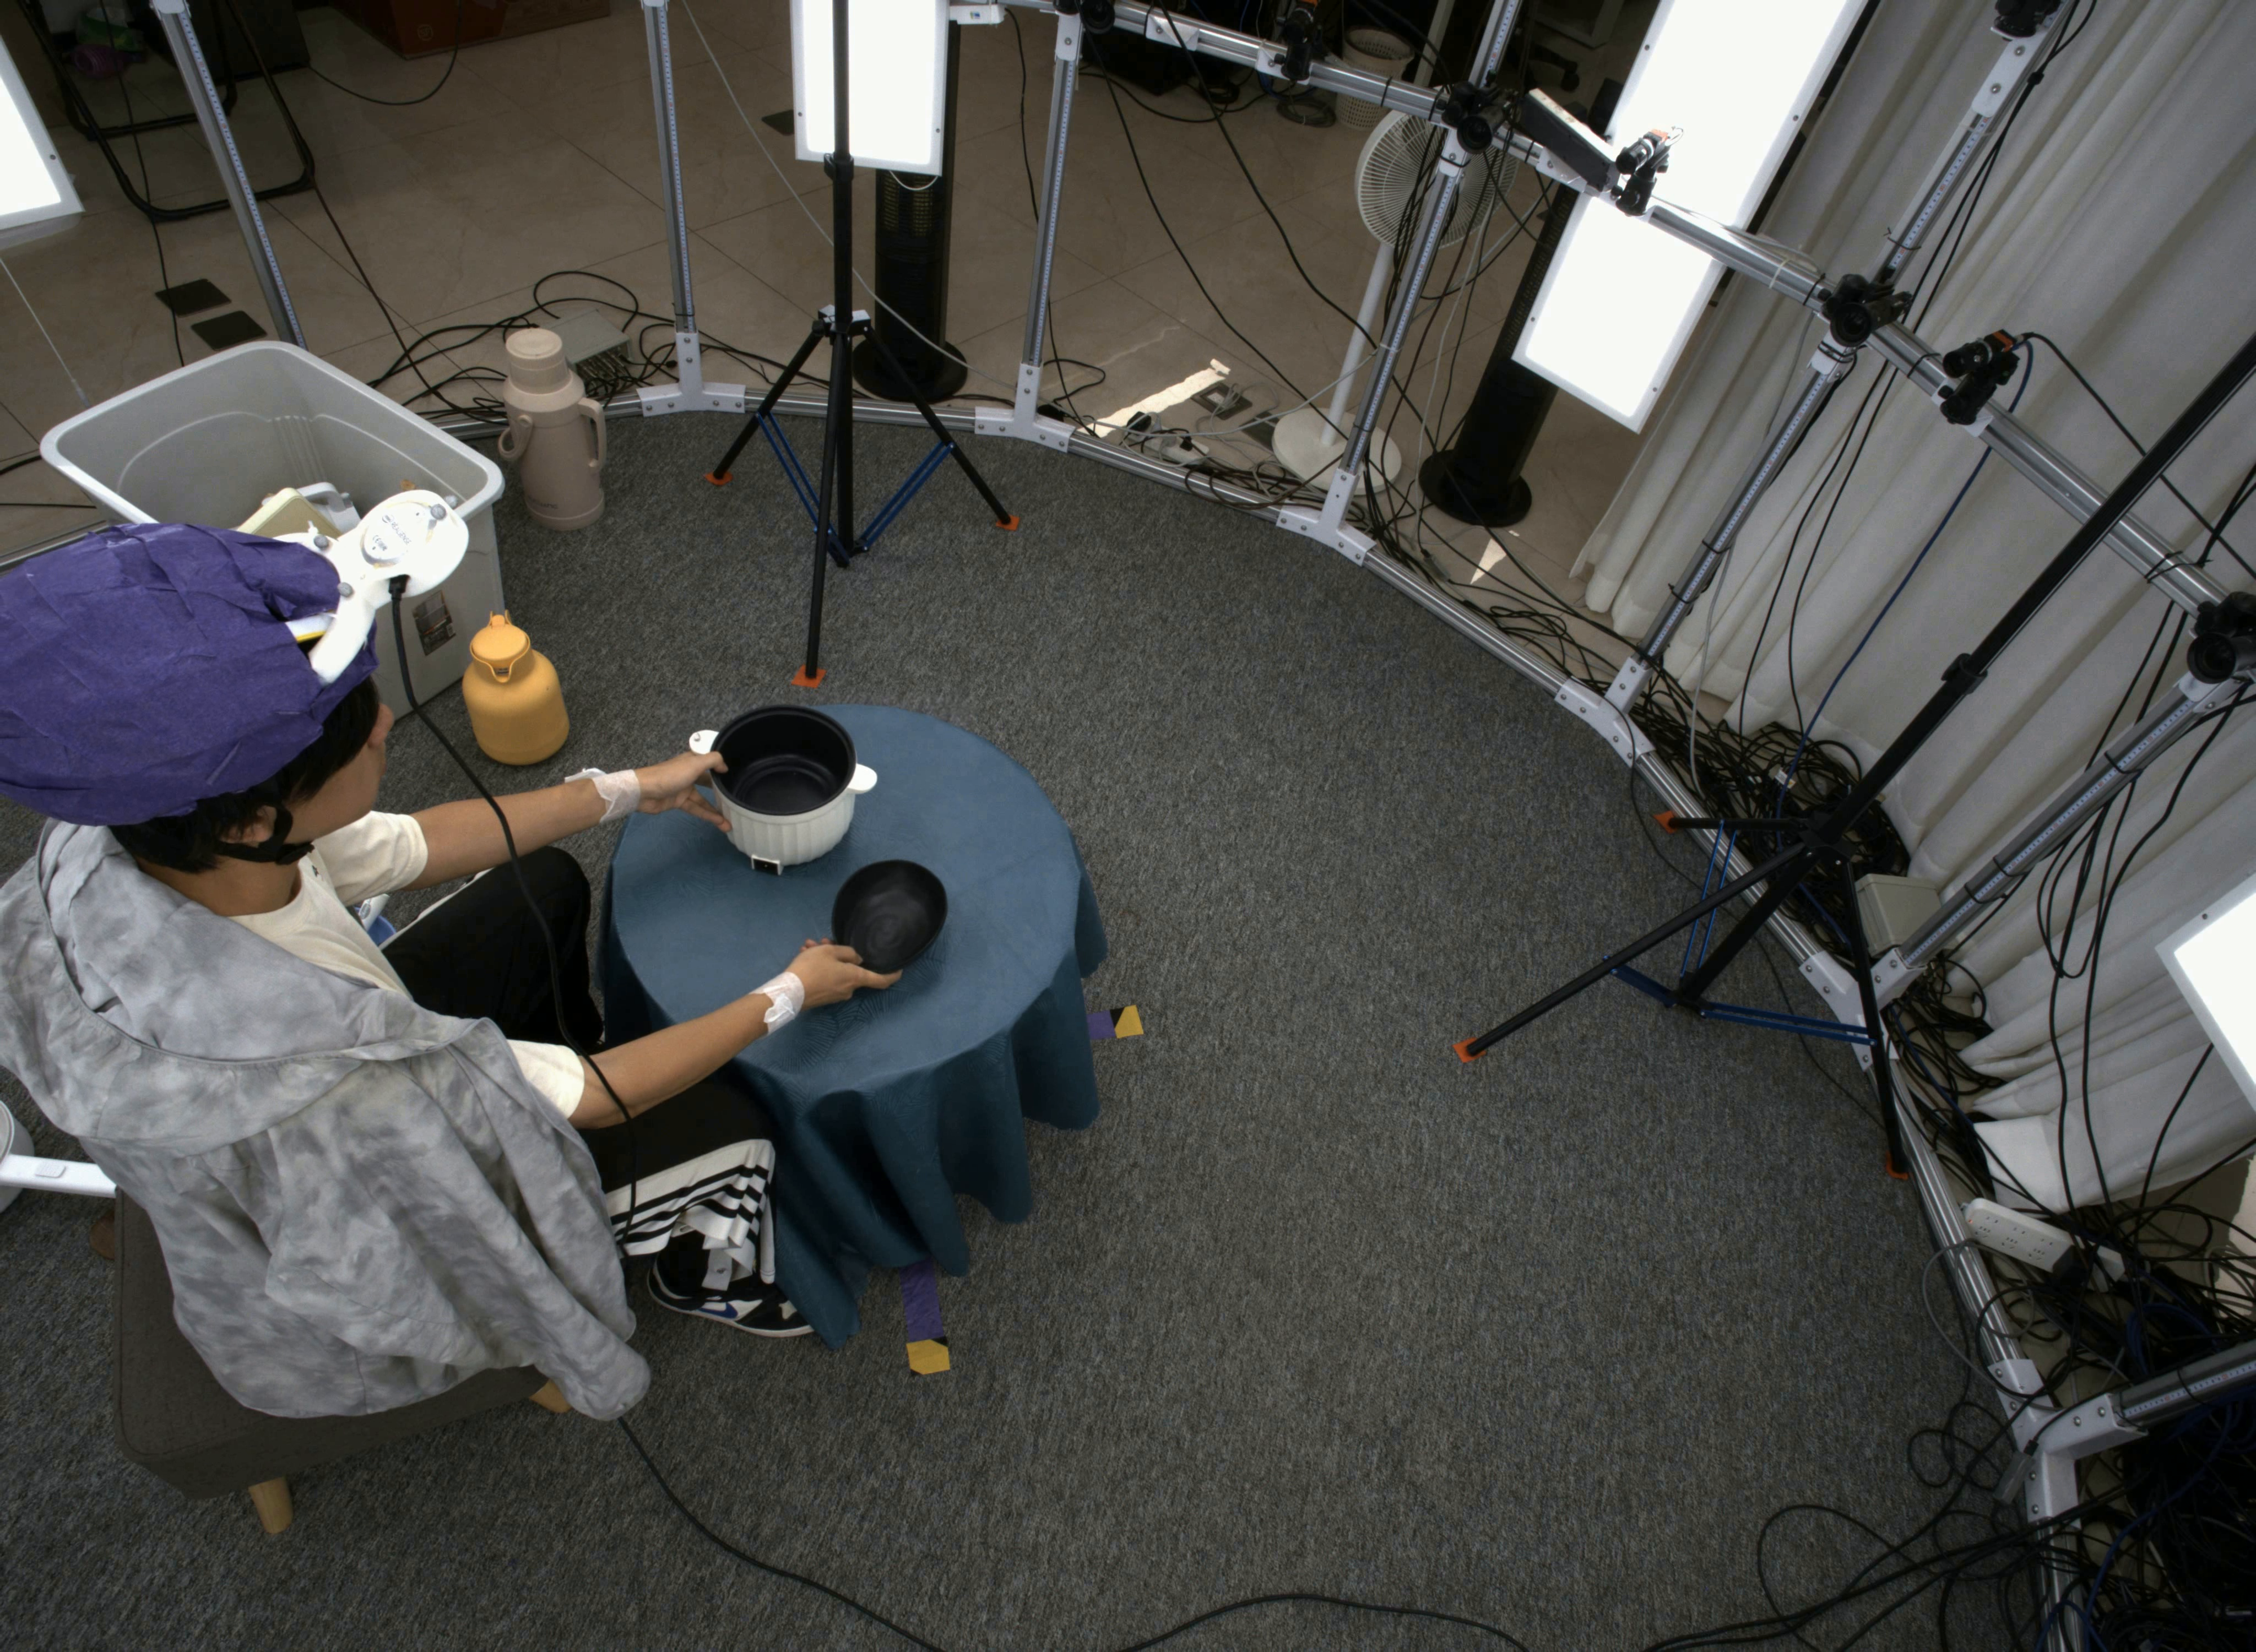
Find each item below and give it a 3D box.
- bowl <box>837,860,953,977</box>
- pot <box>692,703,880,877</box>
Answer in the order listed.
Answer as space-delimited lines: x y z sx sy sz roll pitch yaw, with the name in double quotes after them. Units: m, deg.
-0.291 0.124 1.625 0.135 0.068 0.168 18 52 3 "bowl"
-0.436 -0.050 1.671 0.239 0.145 0.188 13 55 -4 "pot"
